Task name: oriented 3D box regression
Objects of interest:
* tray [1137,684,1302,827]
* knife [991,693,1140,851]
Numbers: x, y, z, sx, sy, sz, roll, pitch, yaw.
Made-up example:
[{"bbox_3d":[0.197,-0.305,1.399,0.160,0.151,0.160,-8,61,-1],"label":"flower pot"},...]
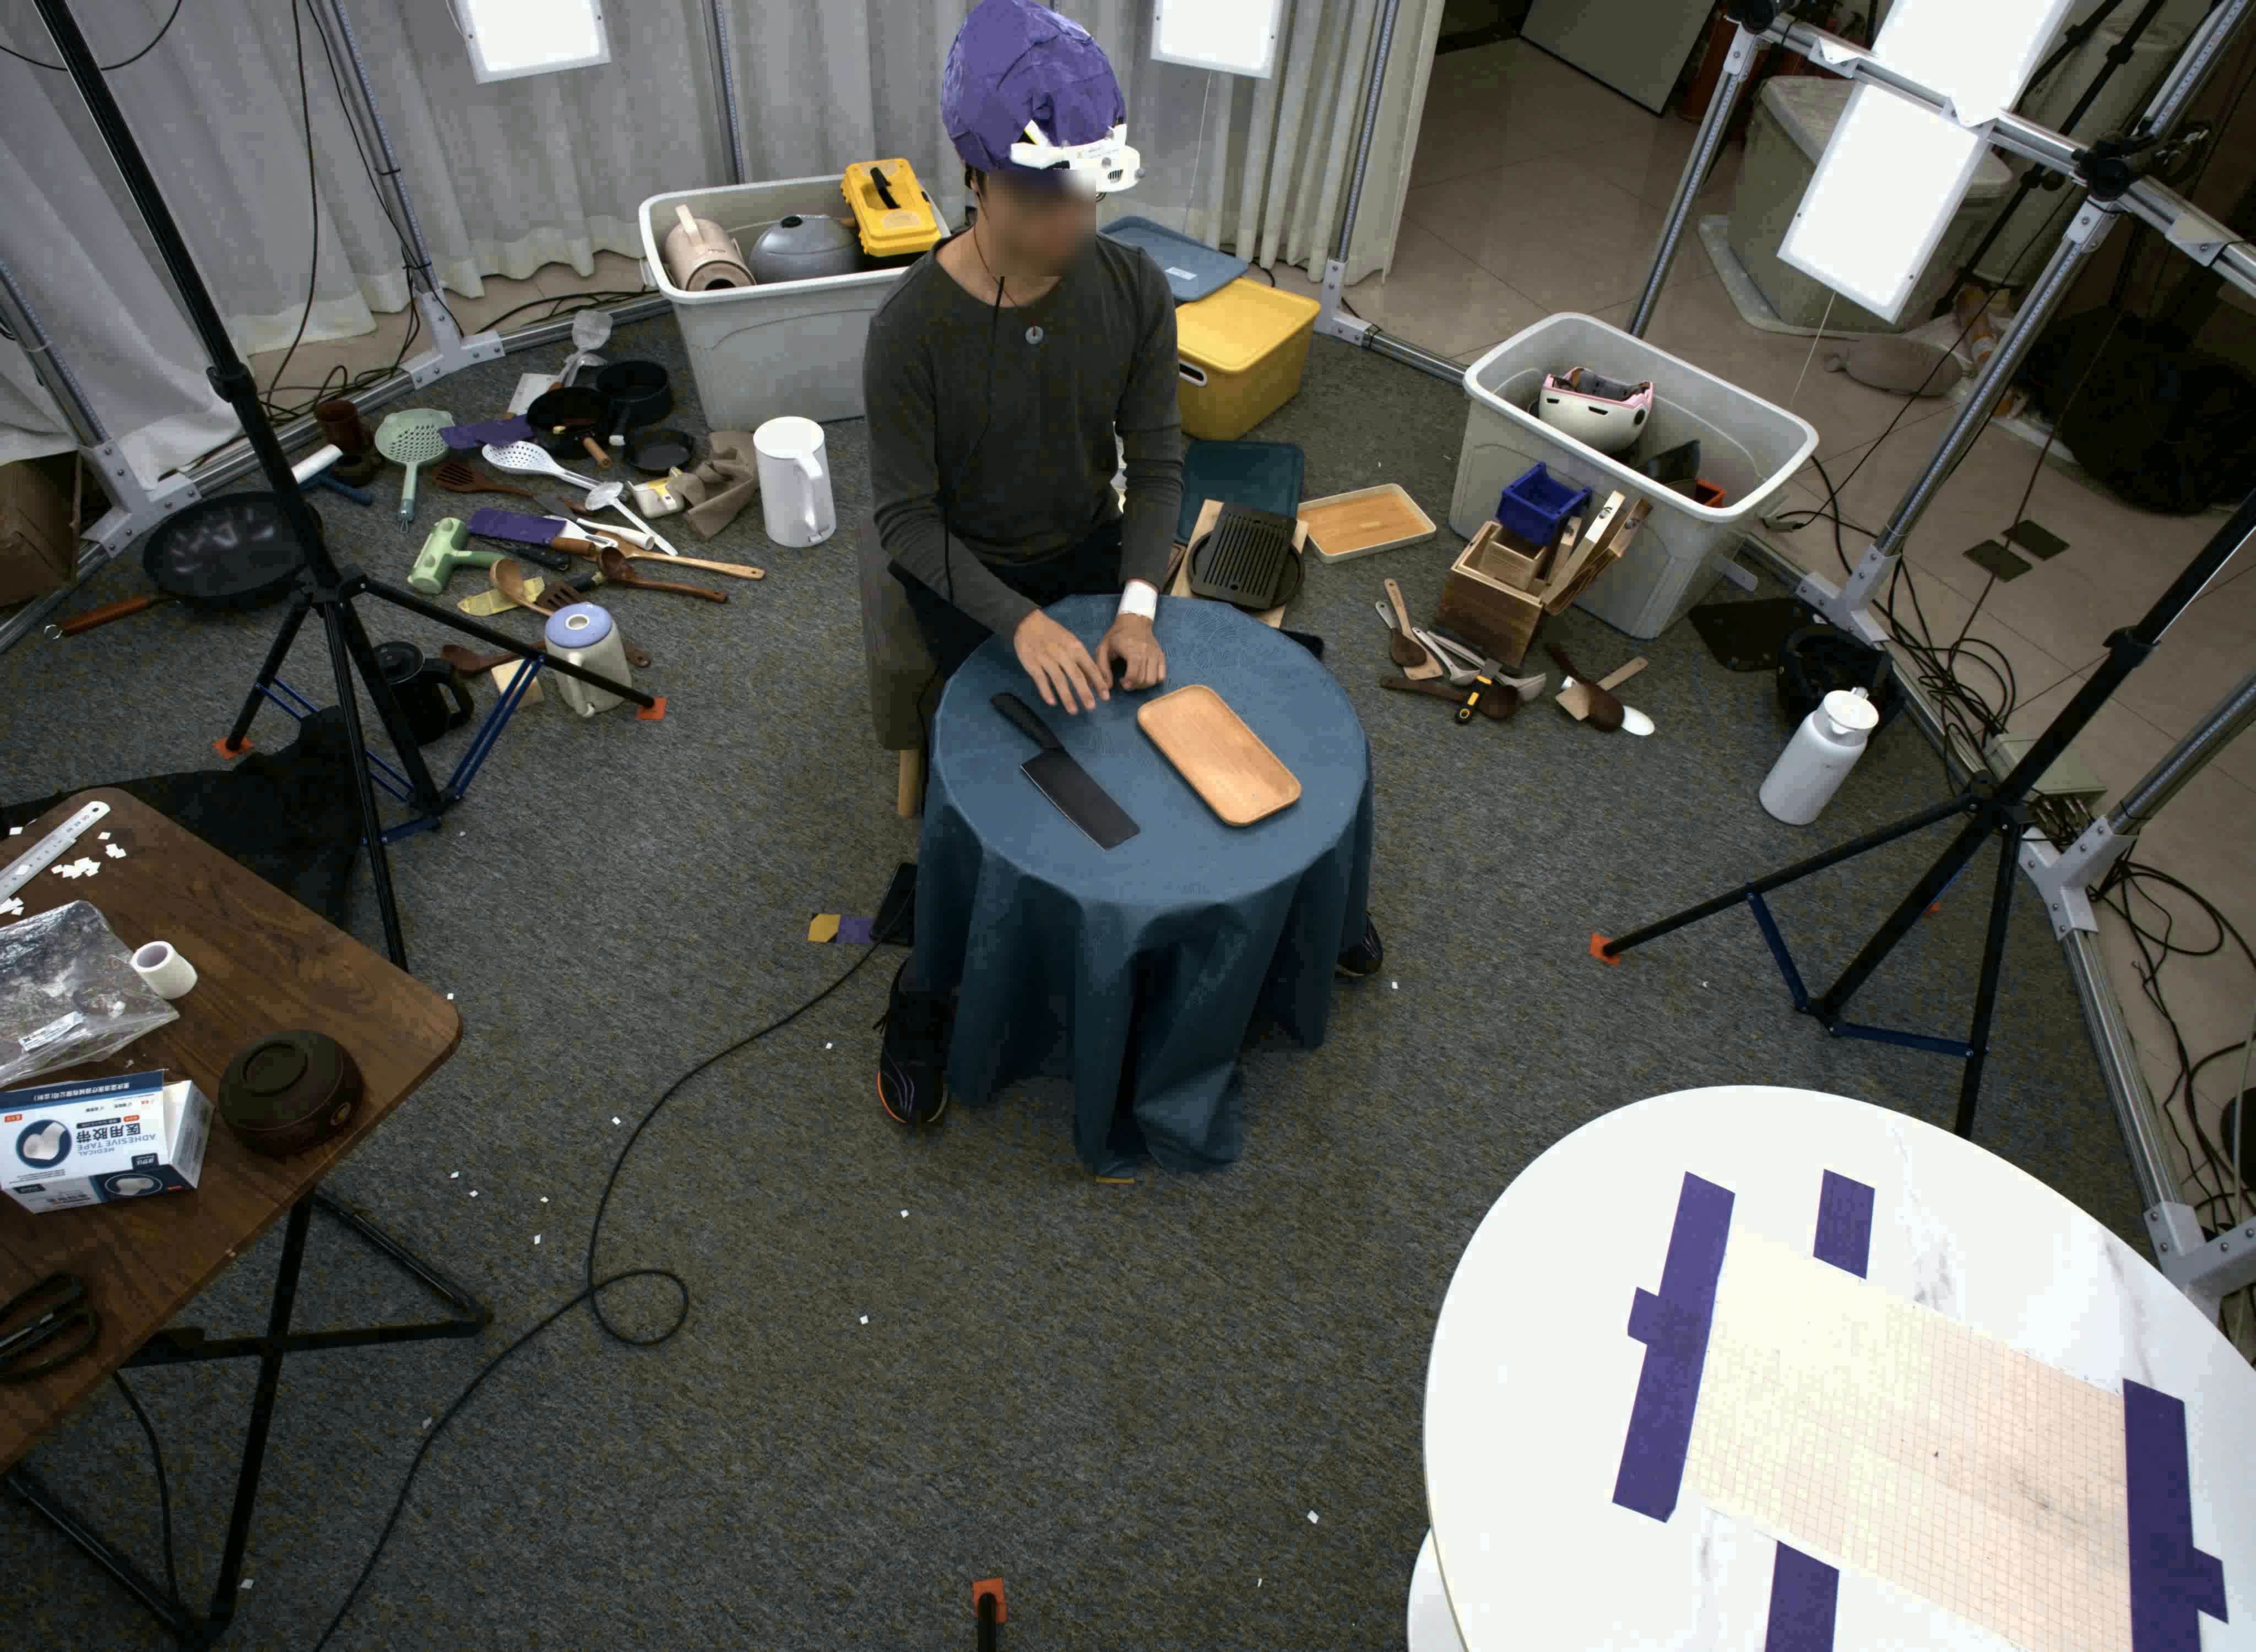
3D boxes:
[{"bbox_3d":[0.122,-0.100,1.752,0.131,0.022,0.256,-22,53,-24],"label":"tray"},{"bbox_3d":[-0.097,-0.079,1.720,0.081,0.020,0.308,-25,57,-22],"label":"knife"}]
